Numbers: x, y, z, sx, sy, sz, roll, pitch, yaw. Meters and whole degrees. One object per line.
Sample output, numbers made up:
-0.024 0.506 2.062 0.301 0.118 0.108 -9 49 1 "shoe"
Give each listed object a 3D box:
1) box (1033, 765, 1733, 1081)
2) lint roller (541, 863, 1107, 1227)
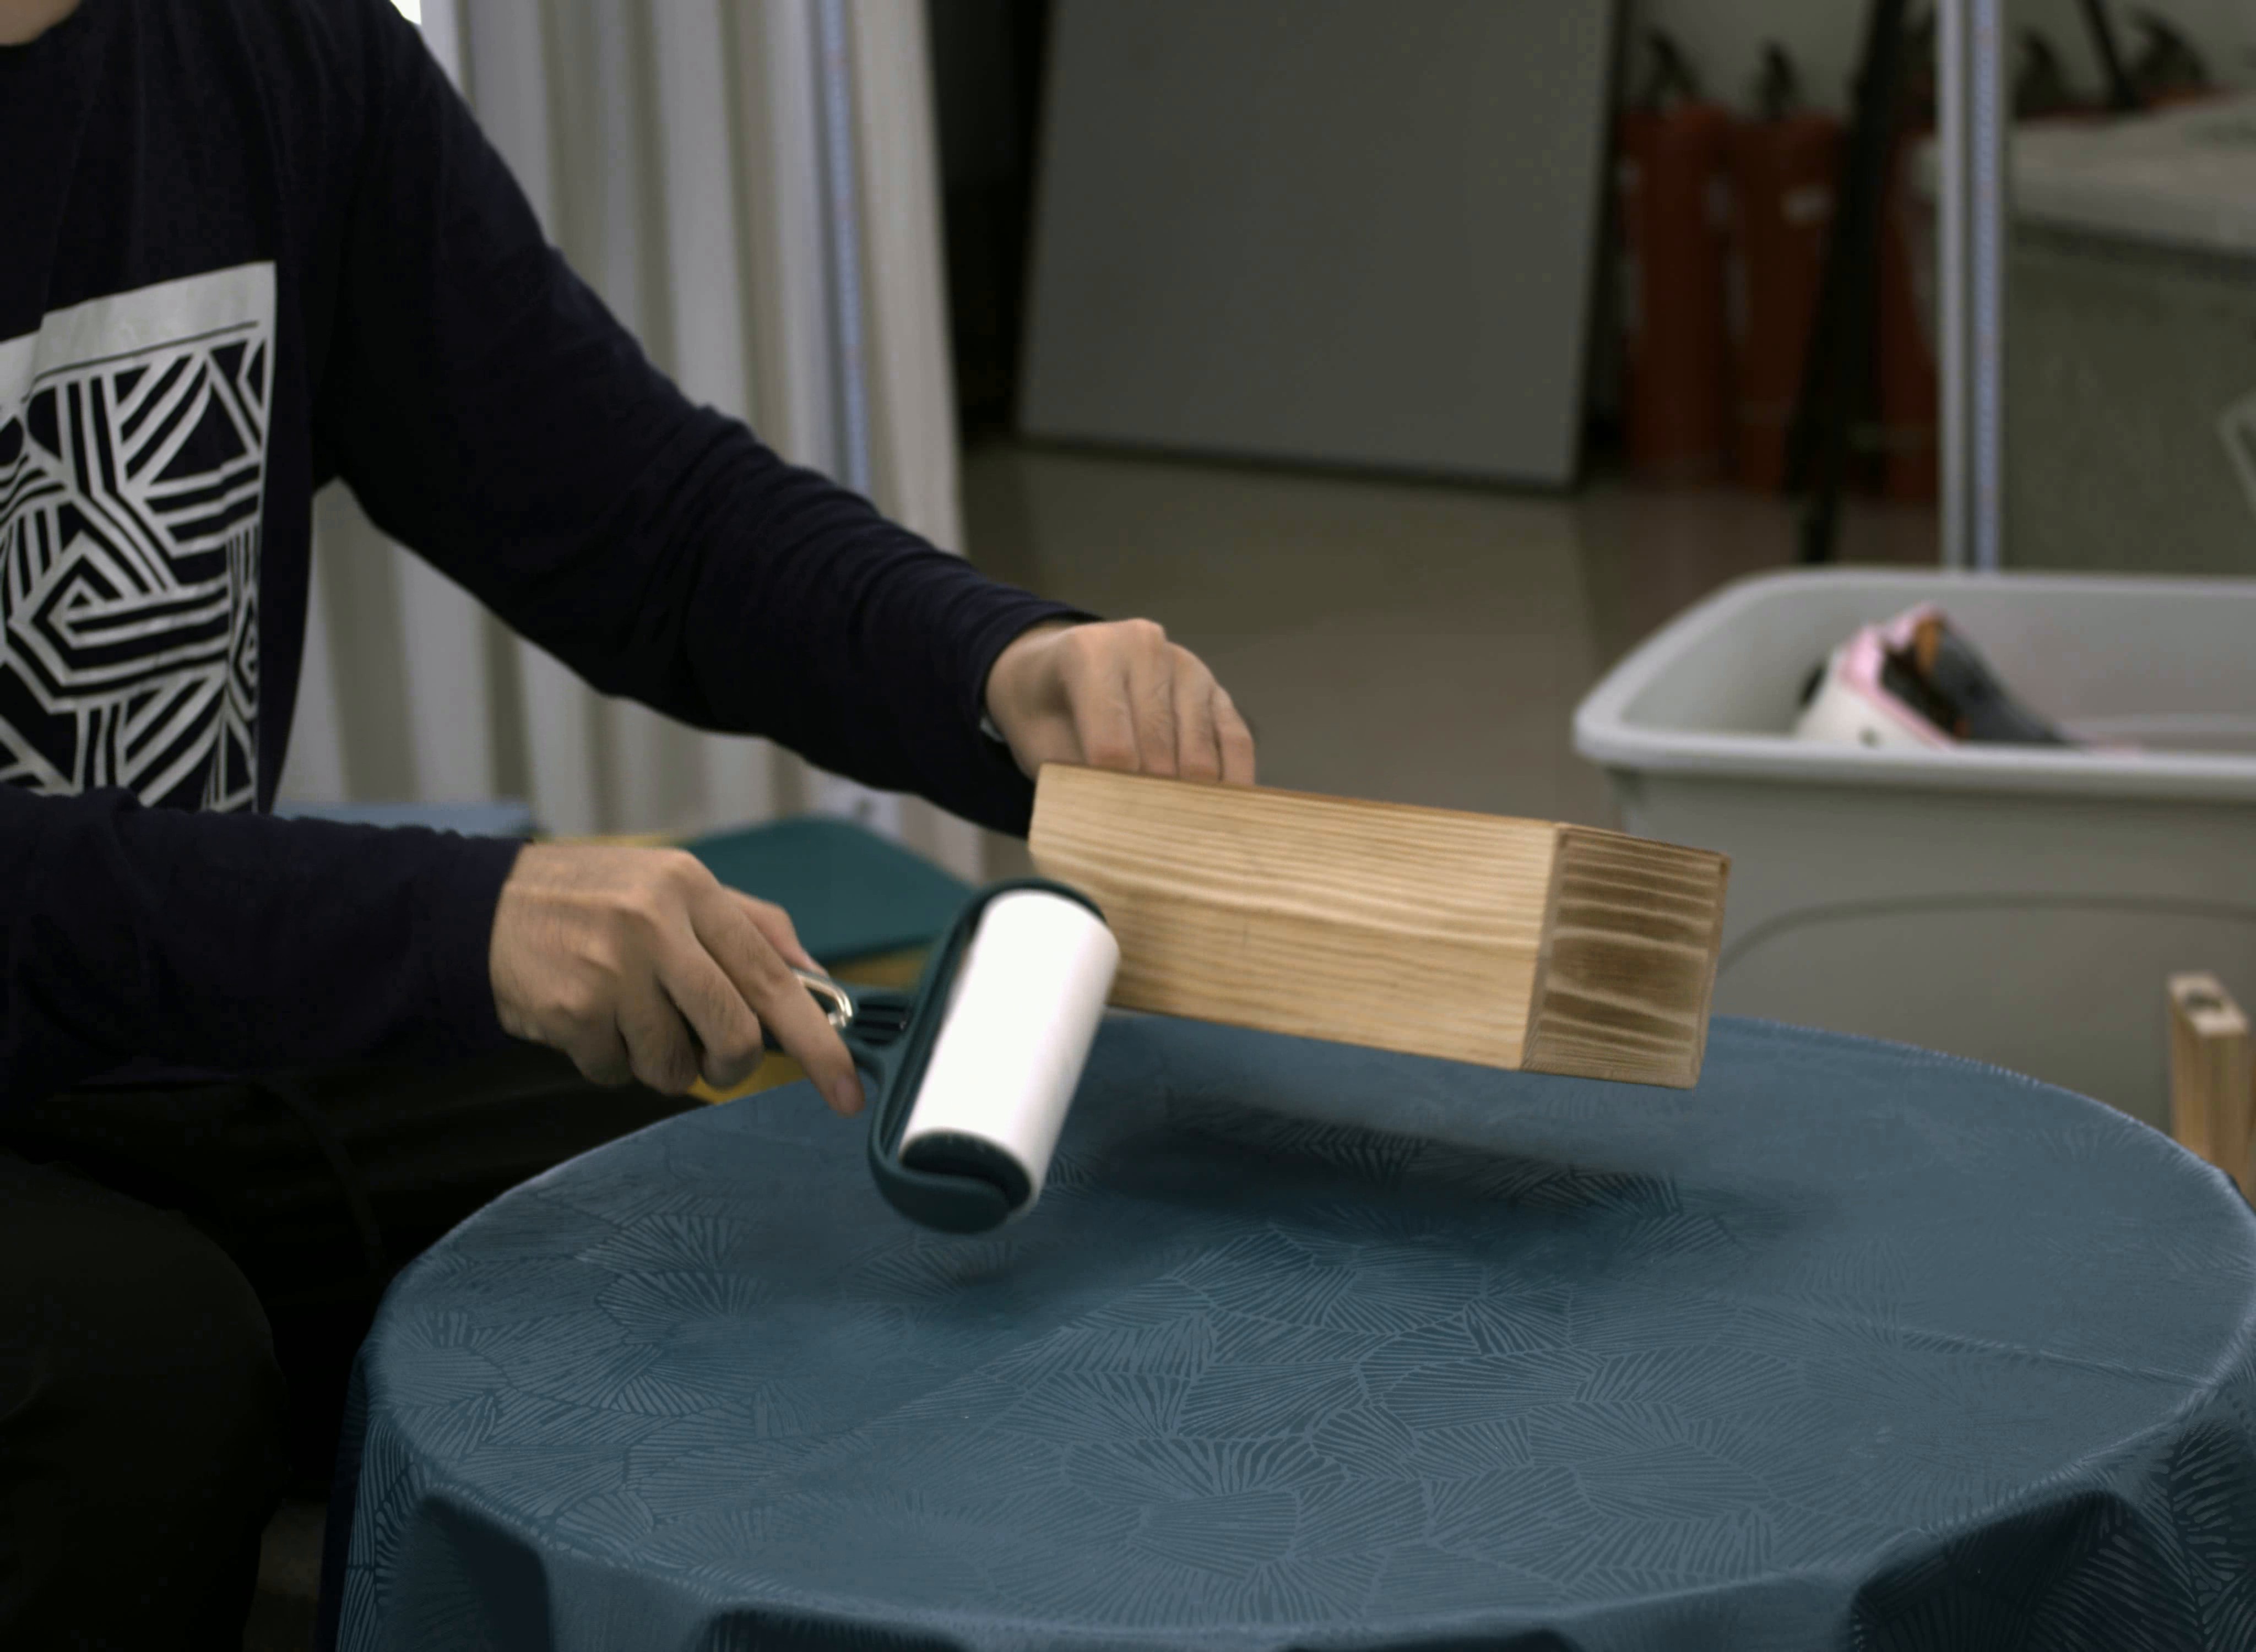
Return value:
0.080 0.031 1.774 0.213 0.081 0.105 5 -3 39 "box"
-0.104 0.056 1.738 0.179 0.048 0.135 11 51 8 "lint roller"
